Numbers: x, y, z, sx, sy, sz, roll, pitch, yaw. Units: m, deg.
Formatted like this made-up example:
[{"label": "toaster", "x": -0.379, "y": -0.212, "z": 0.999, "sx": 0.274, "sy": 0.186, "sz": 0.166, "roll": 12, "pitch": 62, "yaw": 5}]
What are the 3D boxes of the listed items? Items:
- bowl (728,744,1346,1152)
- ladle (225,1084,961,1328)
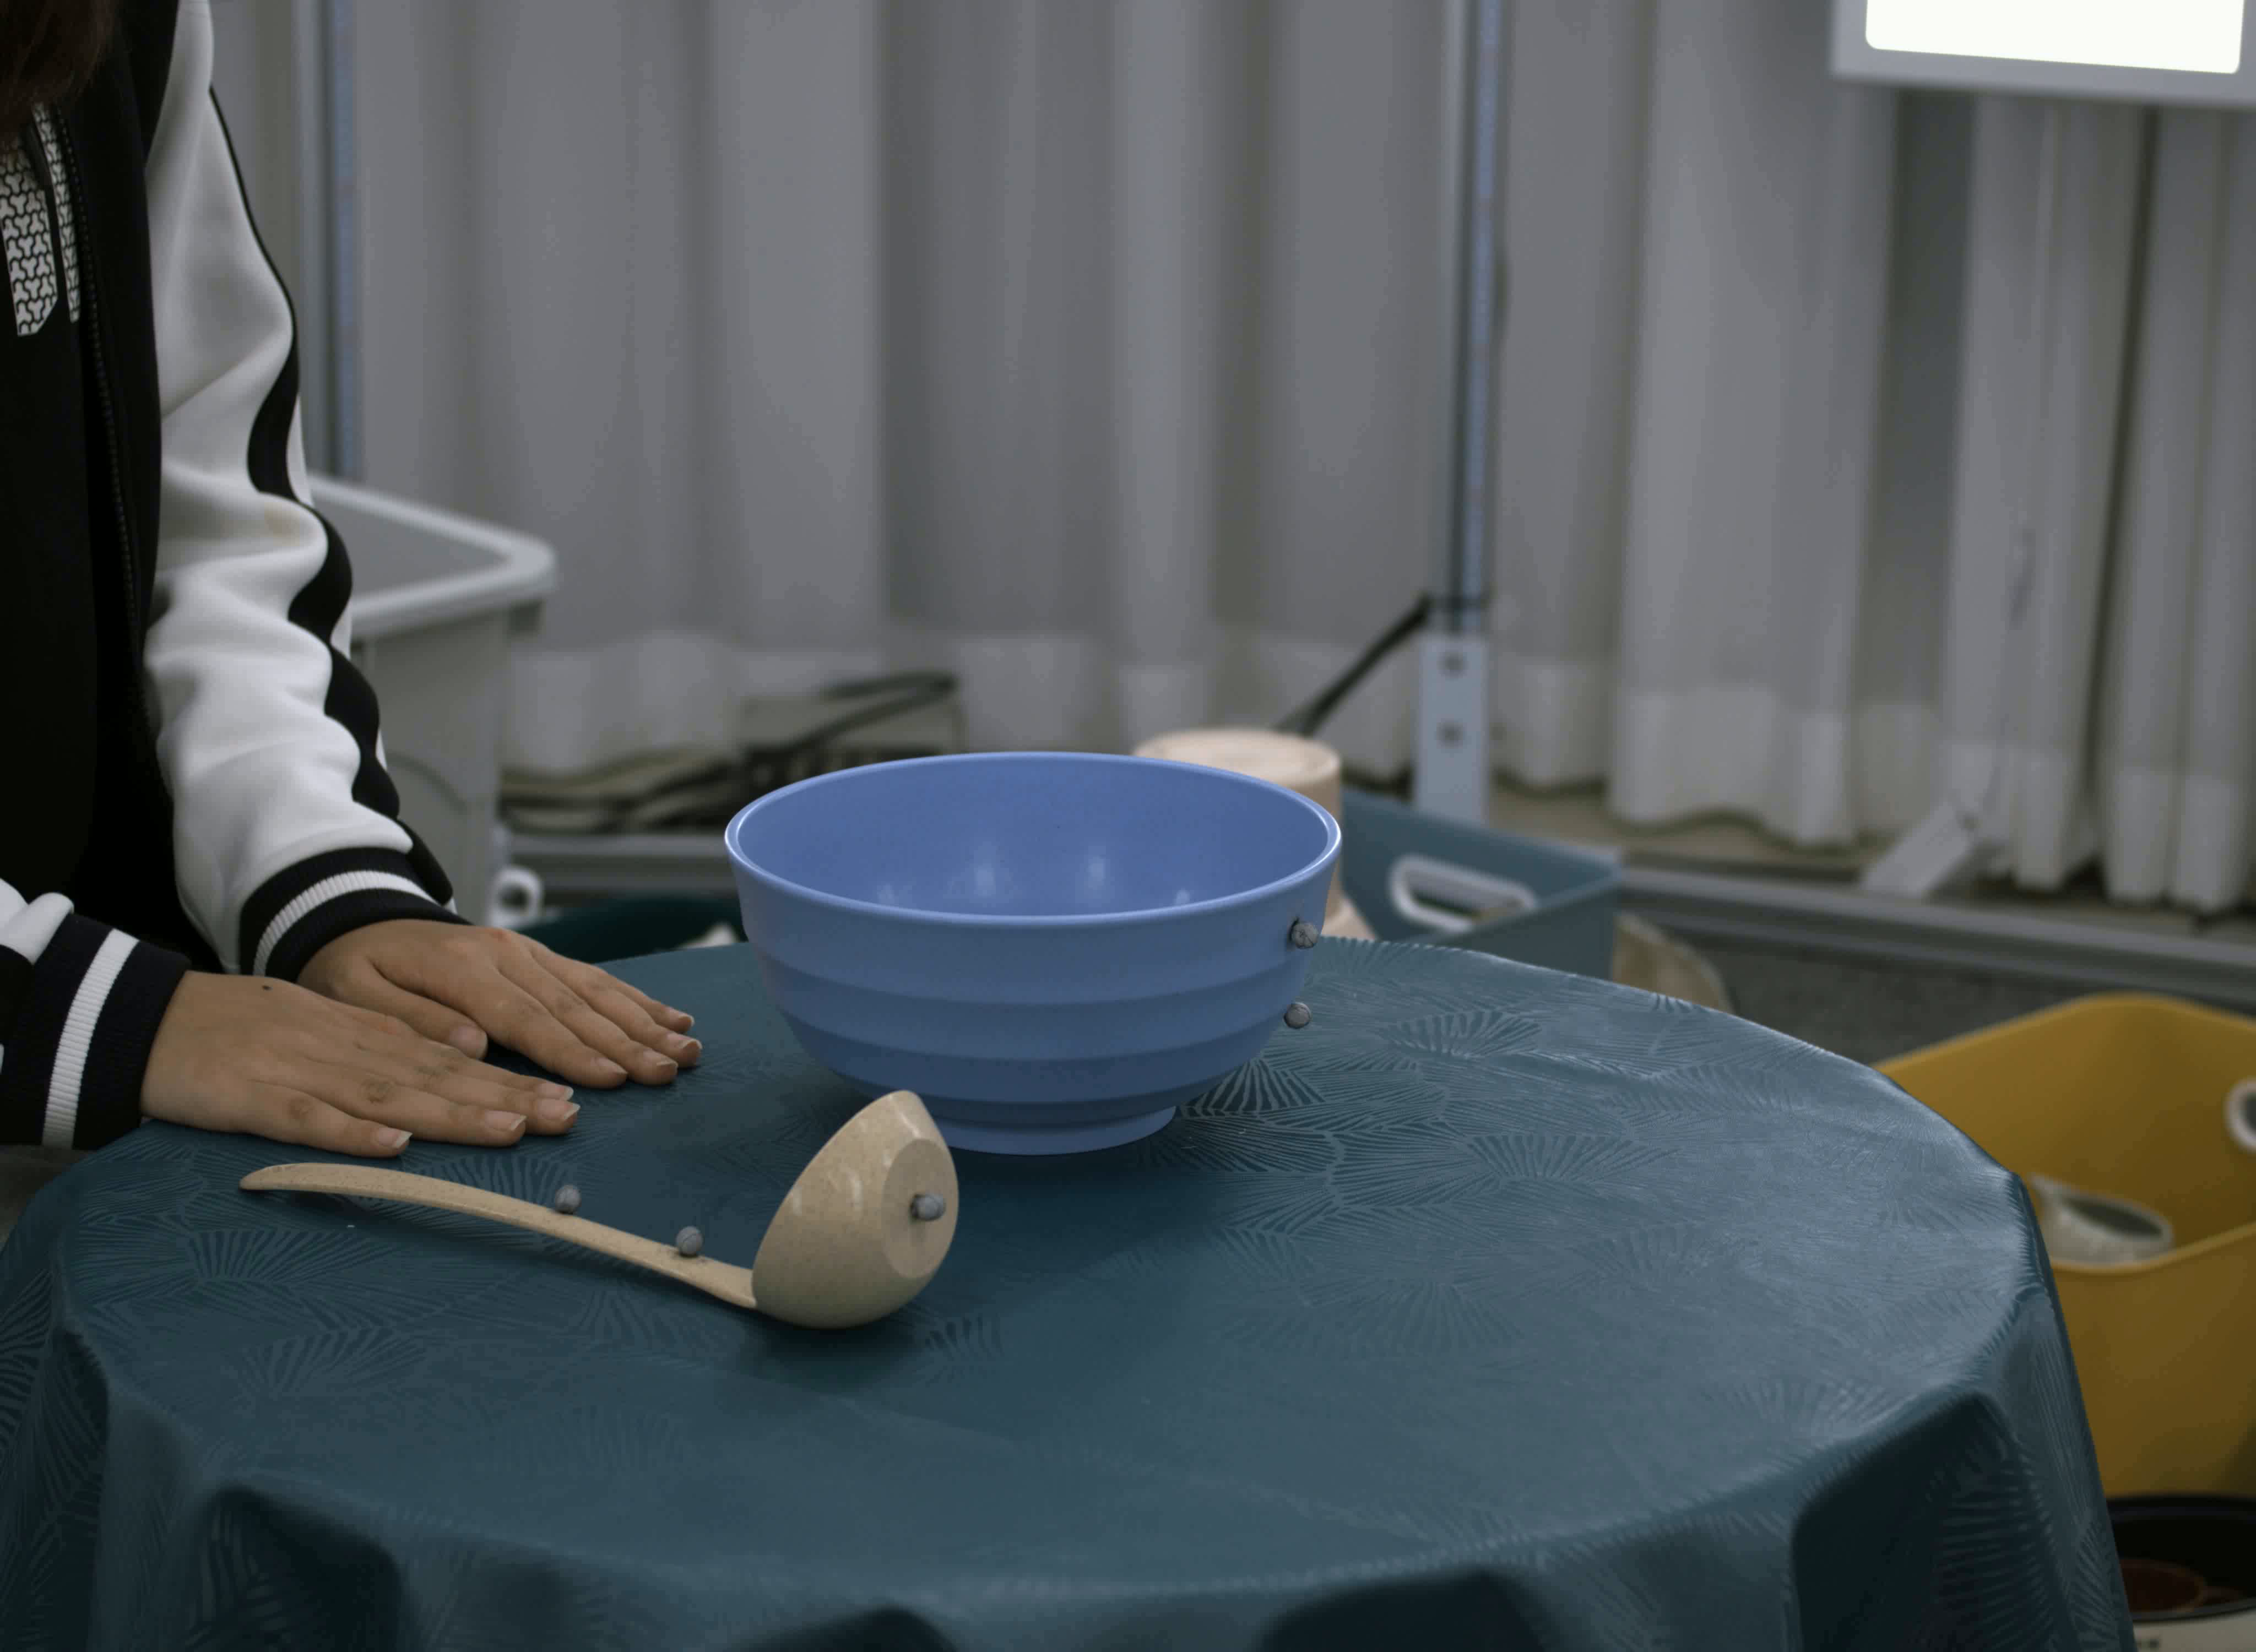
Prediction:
[{"label": "bowl", "x": -0.031, "y": 0.045, "z": 1.682, "sx": 0.196, "sy": 0.096, "sz": 0.195, "roll": 3, "pitch": 16, "yaw": 0}, {"label": "ladle", "x": -0.165, "y": 0.094, "z": 1.545, "sx": 0.251, "sy": 0.073, "sz": 0.072, "roll": 9, "pitch": 17, "yaw": 28}]
